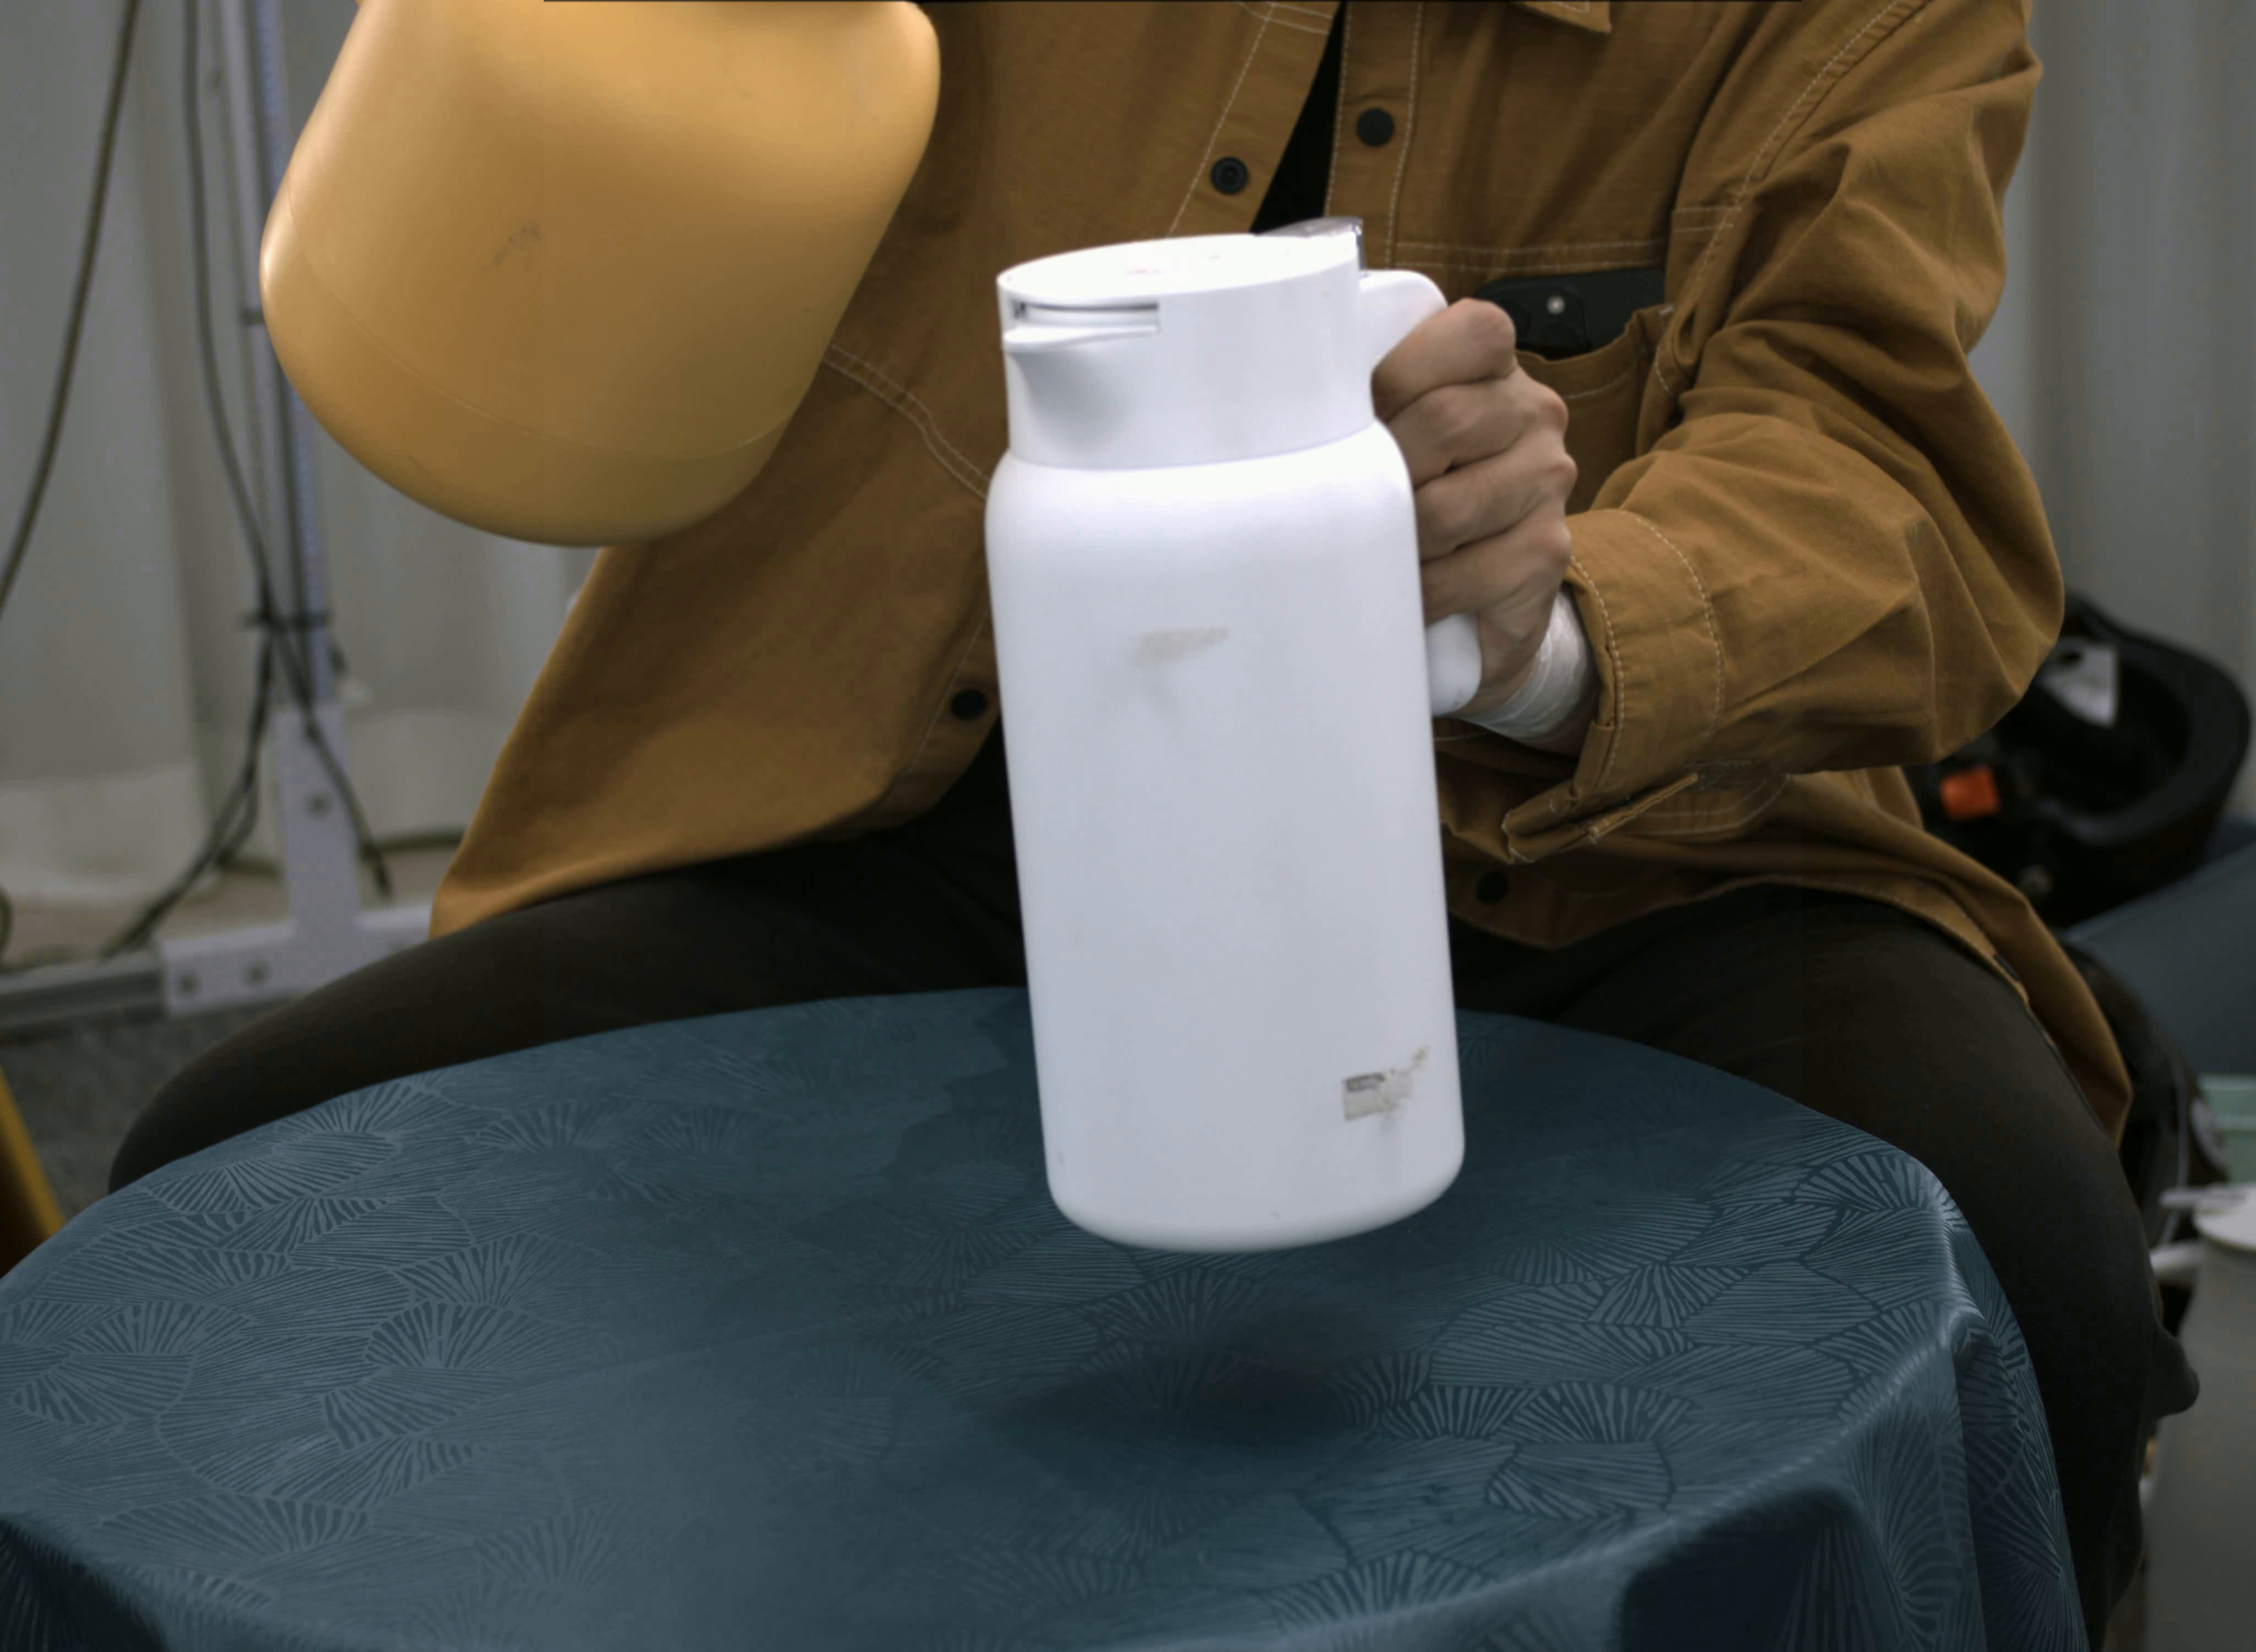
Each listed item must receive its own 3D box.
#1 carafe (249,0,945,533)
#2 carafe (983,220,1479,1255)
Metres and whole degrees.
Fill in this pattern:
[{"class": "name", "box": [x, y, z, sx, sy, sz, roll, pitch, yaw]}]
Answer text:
[{"class": "carafe", "box": [-0.148, -0.230, 1.555, 0.203, 0.258, 0.164, 45, 36, 13]}, {"class": "carafe", "box": [0.034, -0.029, 1.511, 0.124, 0.268, 0.172, 3, 14, 40]}]
